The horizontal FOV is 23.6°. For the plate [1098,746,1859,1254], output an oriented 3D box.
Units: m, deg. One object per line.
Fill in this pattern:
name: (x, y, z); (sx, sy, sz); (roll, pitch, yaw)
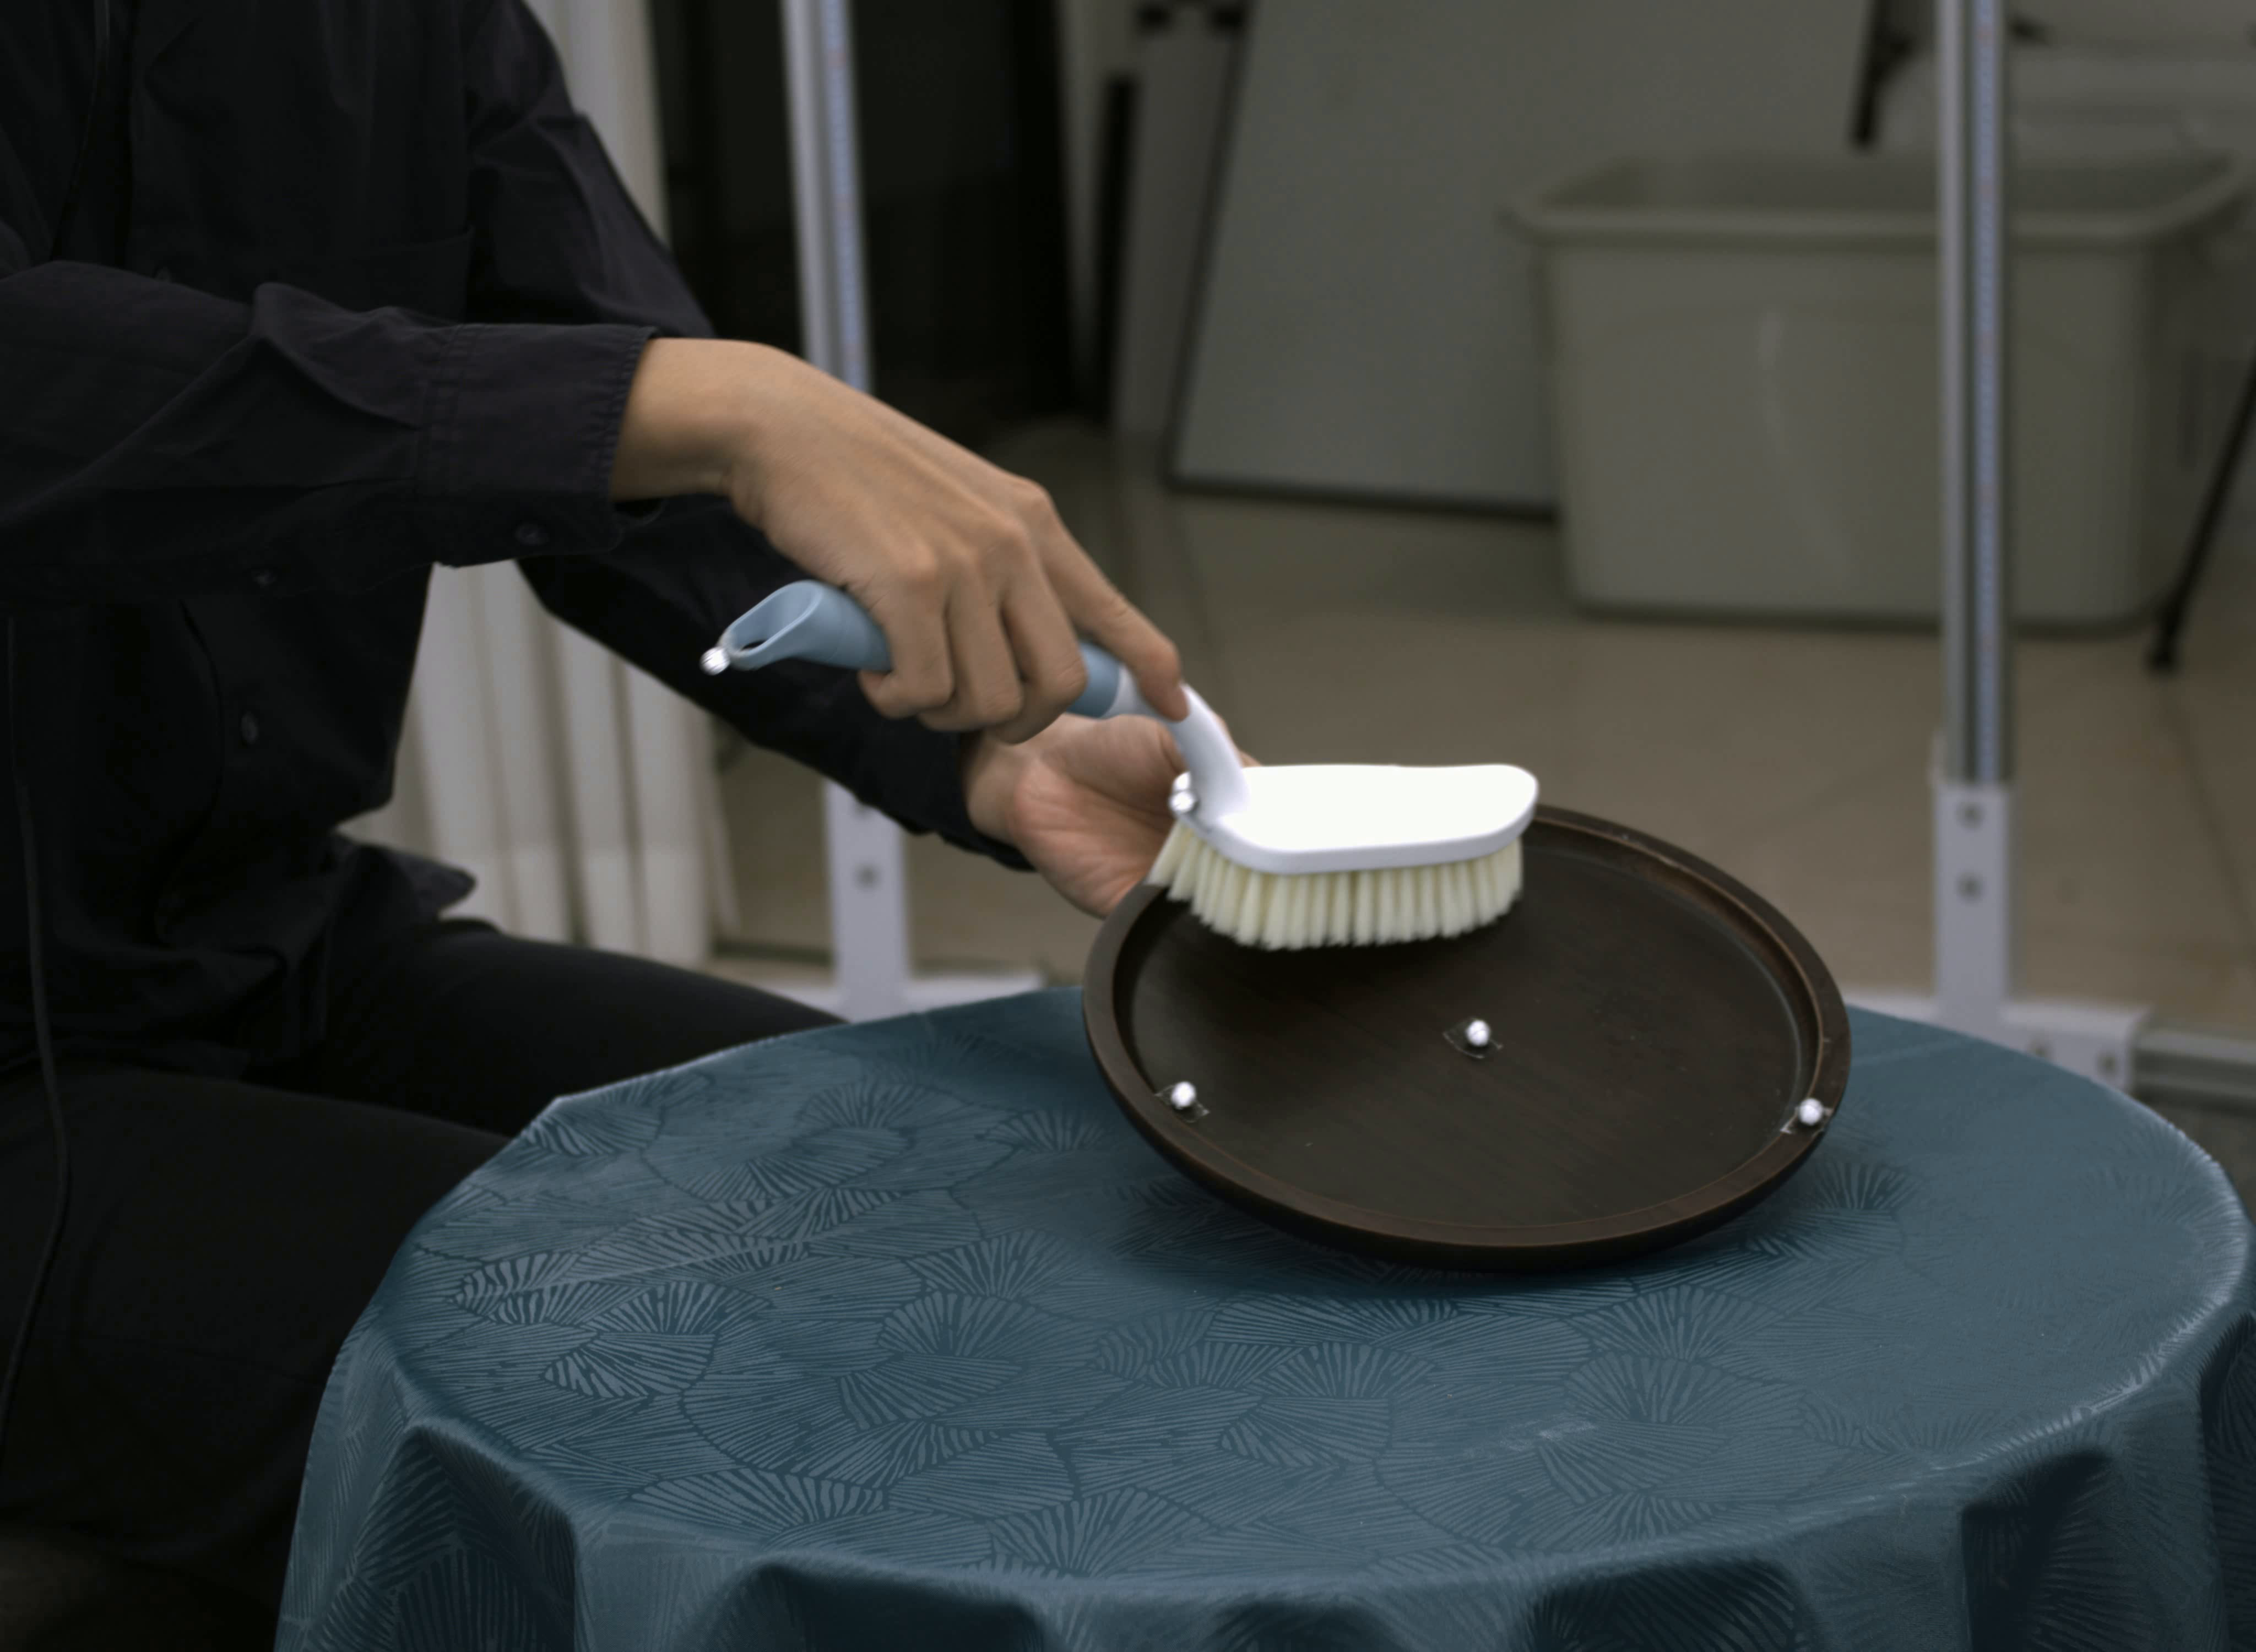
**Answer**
plate: (0.114, 0.058, 1.766); (0.251, 0.029, 0.256); (0, 35, -1)

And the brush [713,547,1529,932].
brush: (-0.007, -0.013, 1.741); (0.318, 0.085, 0.084); (12, -21, -34)
